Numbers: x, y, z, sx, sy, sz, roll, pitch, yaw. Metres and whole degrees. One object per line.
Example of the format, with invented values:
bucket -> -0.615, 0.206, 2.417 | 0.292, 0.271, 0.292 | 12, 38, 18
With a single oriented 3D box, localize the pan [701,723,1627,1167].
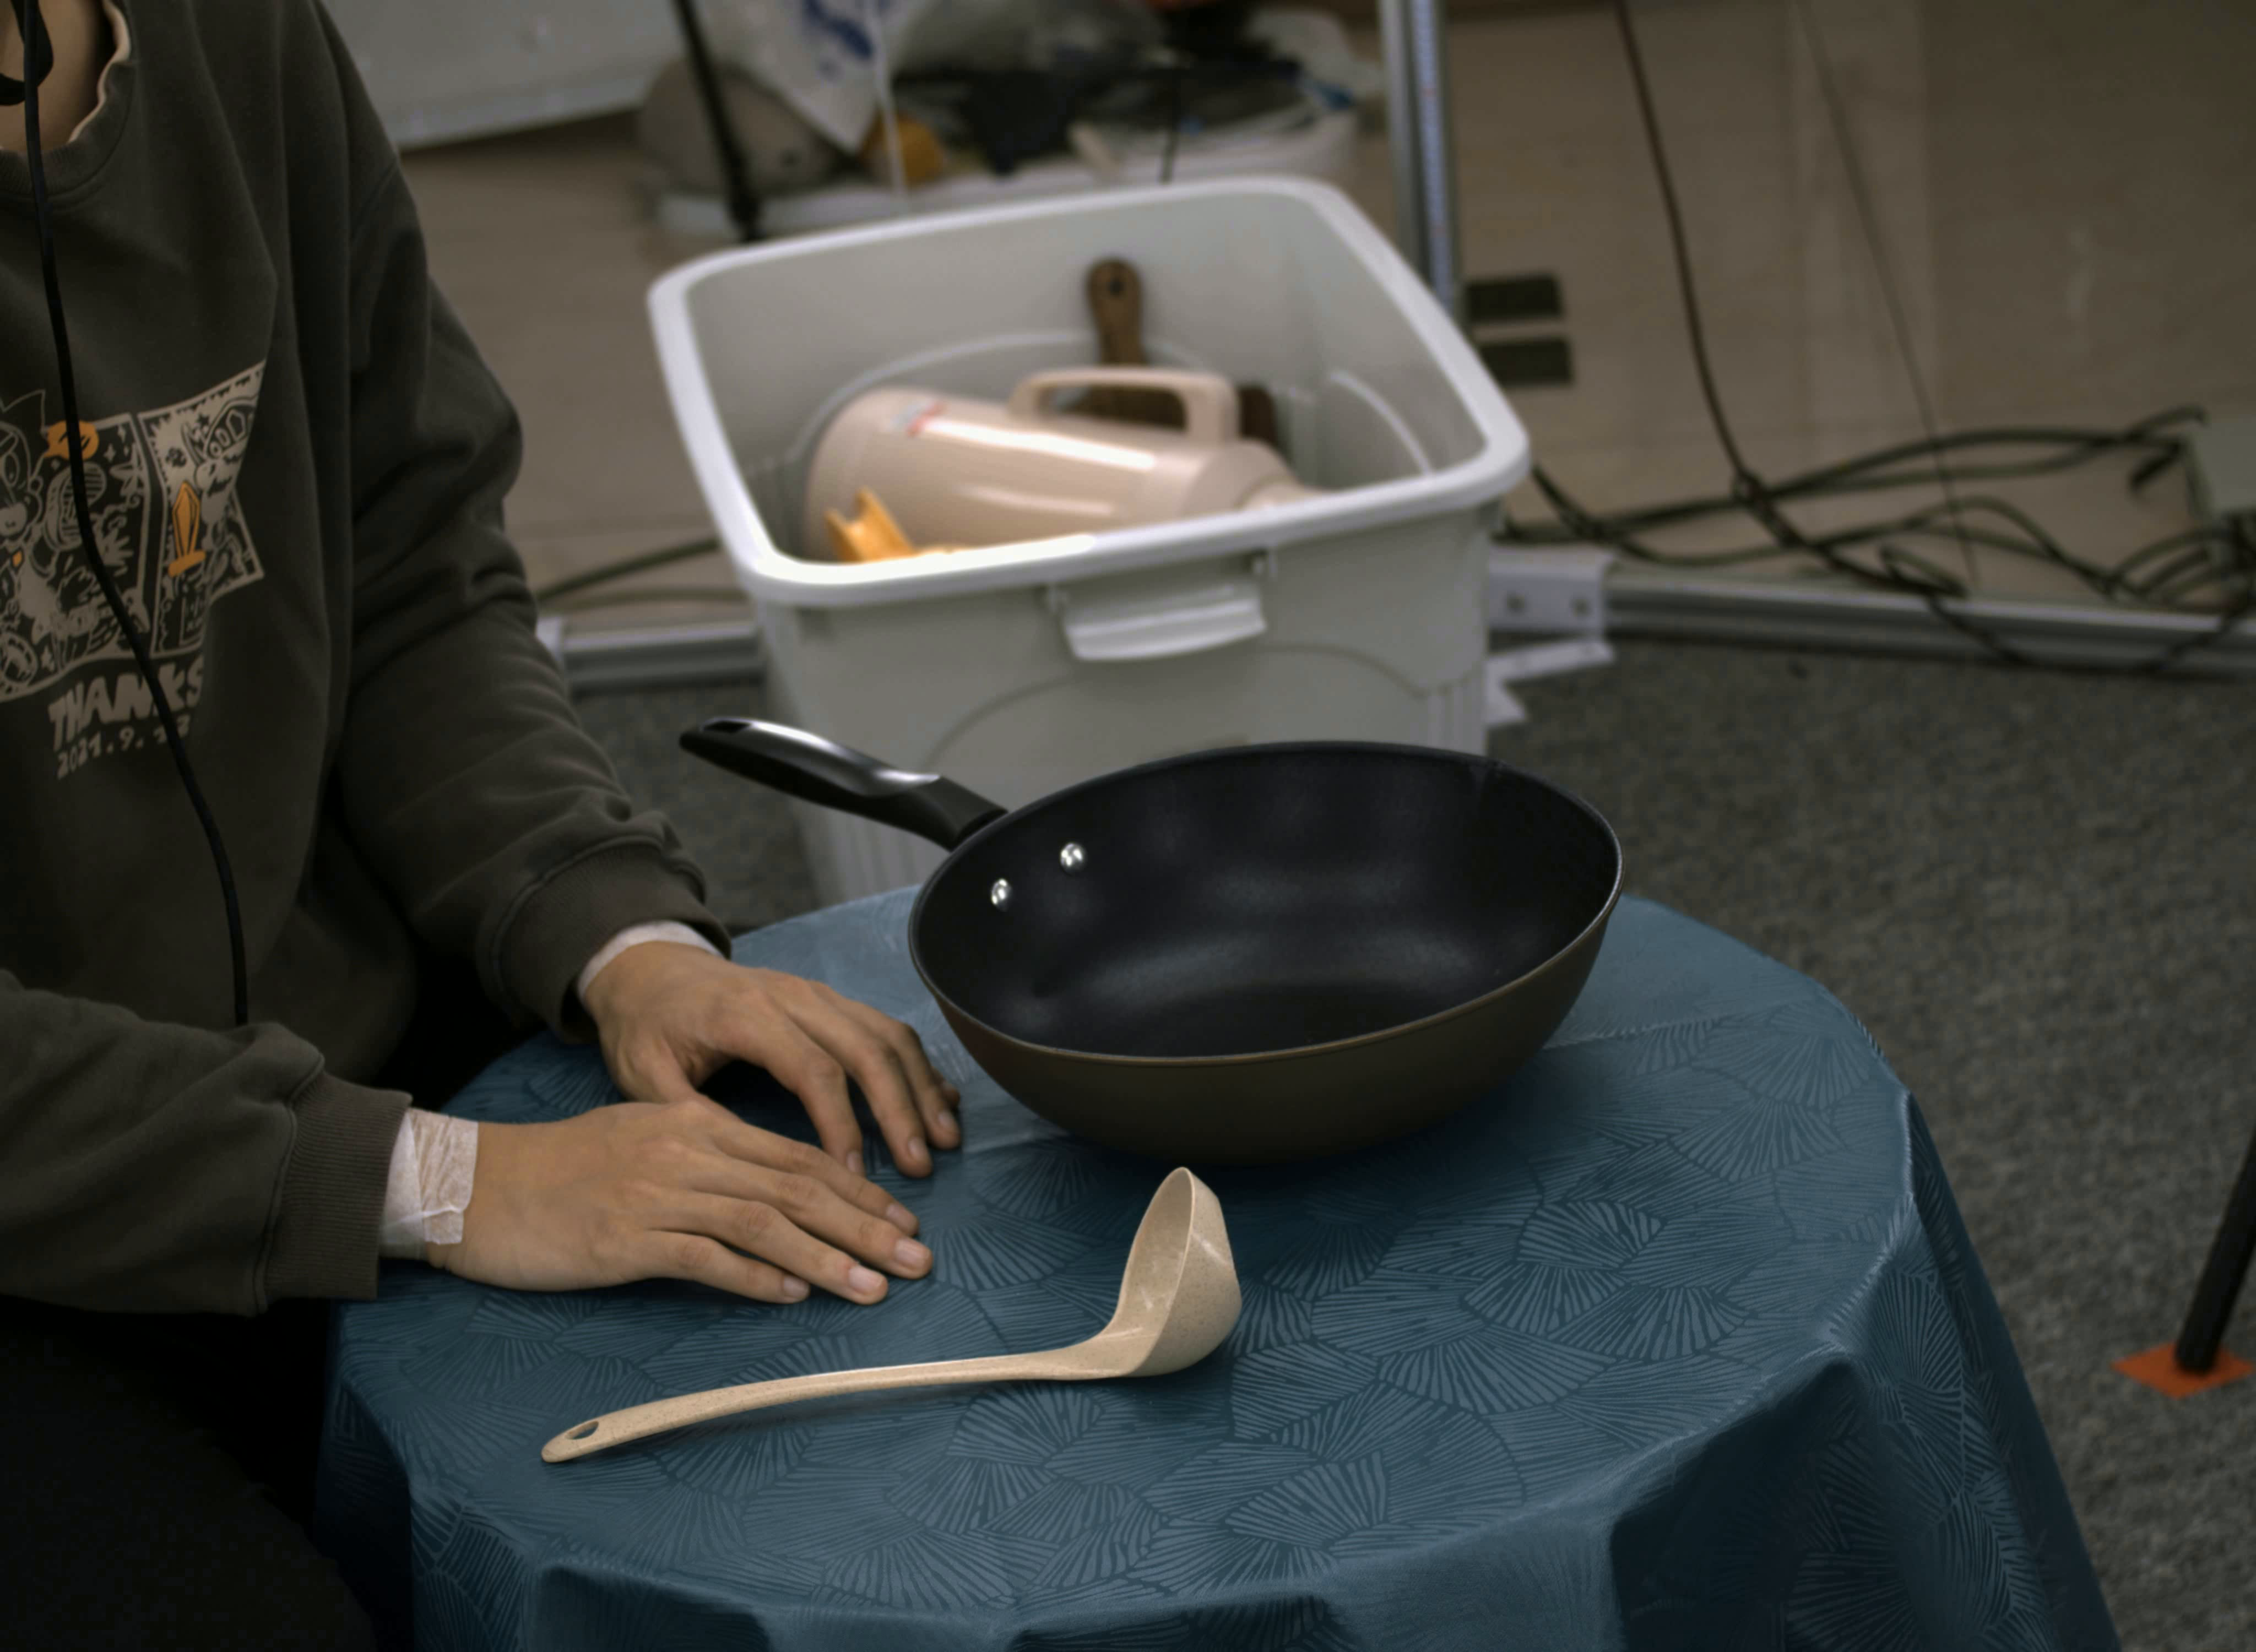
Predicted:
pan -> -0.010, 0.041, 2.260 | 0.460, 0.088, 0.285 | 16, 33, 41

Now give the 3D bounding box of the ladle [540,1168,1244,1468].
ladle -> -0.086, 0.174, 2.006 | 0.254, 0.074, 0.071 | -8, 27, -6
